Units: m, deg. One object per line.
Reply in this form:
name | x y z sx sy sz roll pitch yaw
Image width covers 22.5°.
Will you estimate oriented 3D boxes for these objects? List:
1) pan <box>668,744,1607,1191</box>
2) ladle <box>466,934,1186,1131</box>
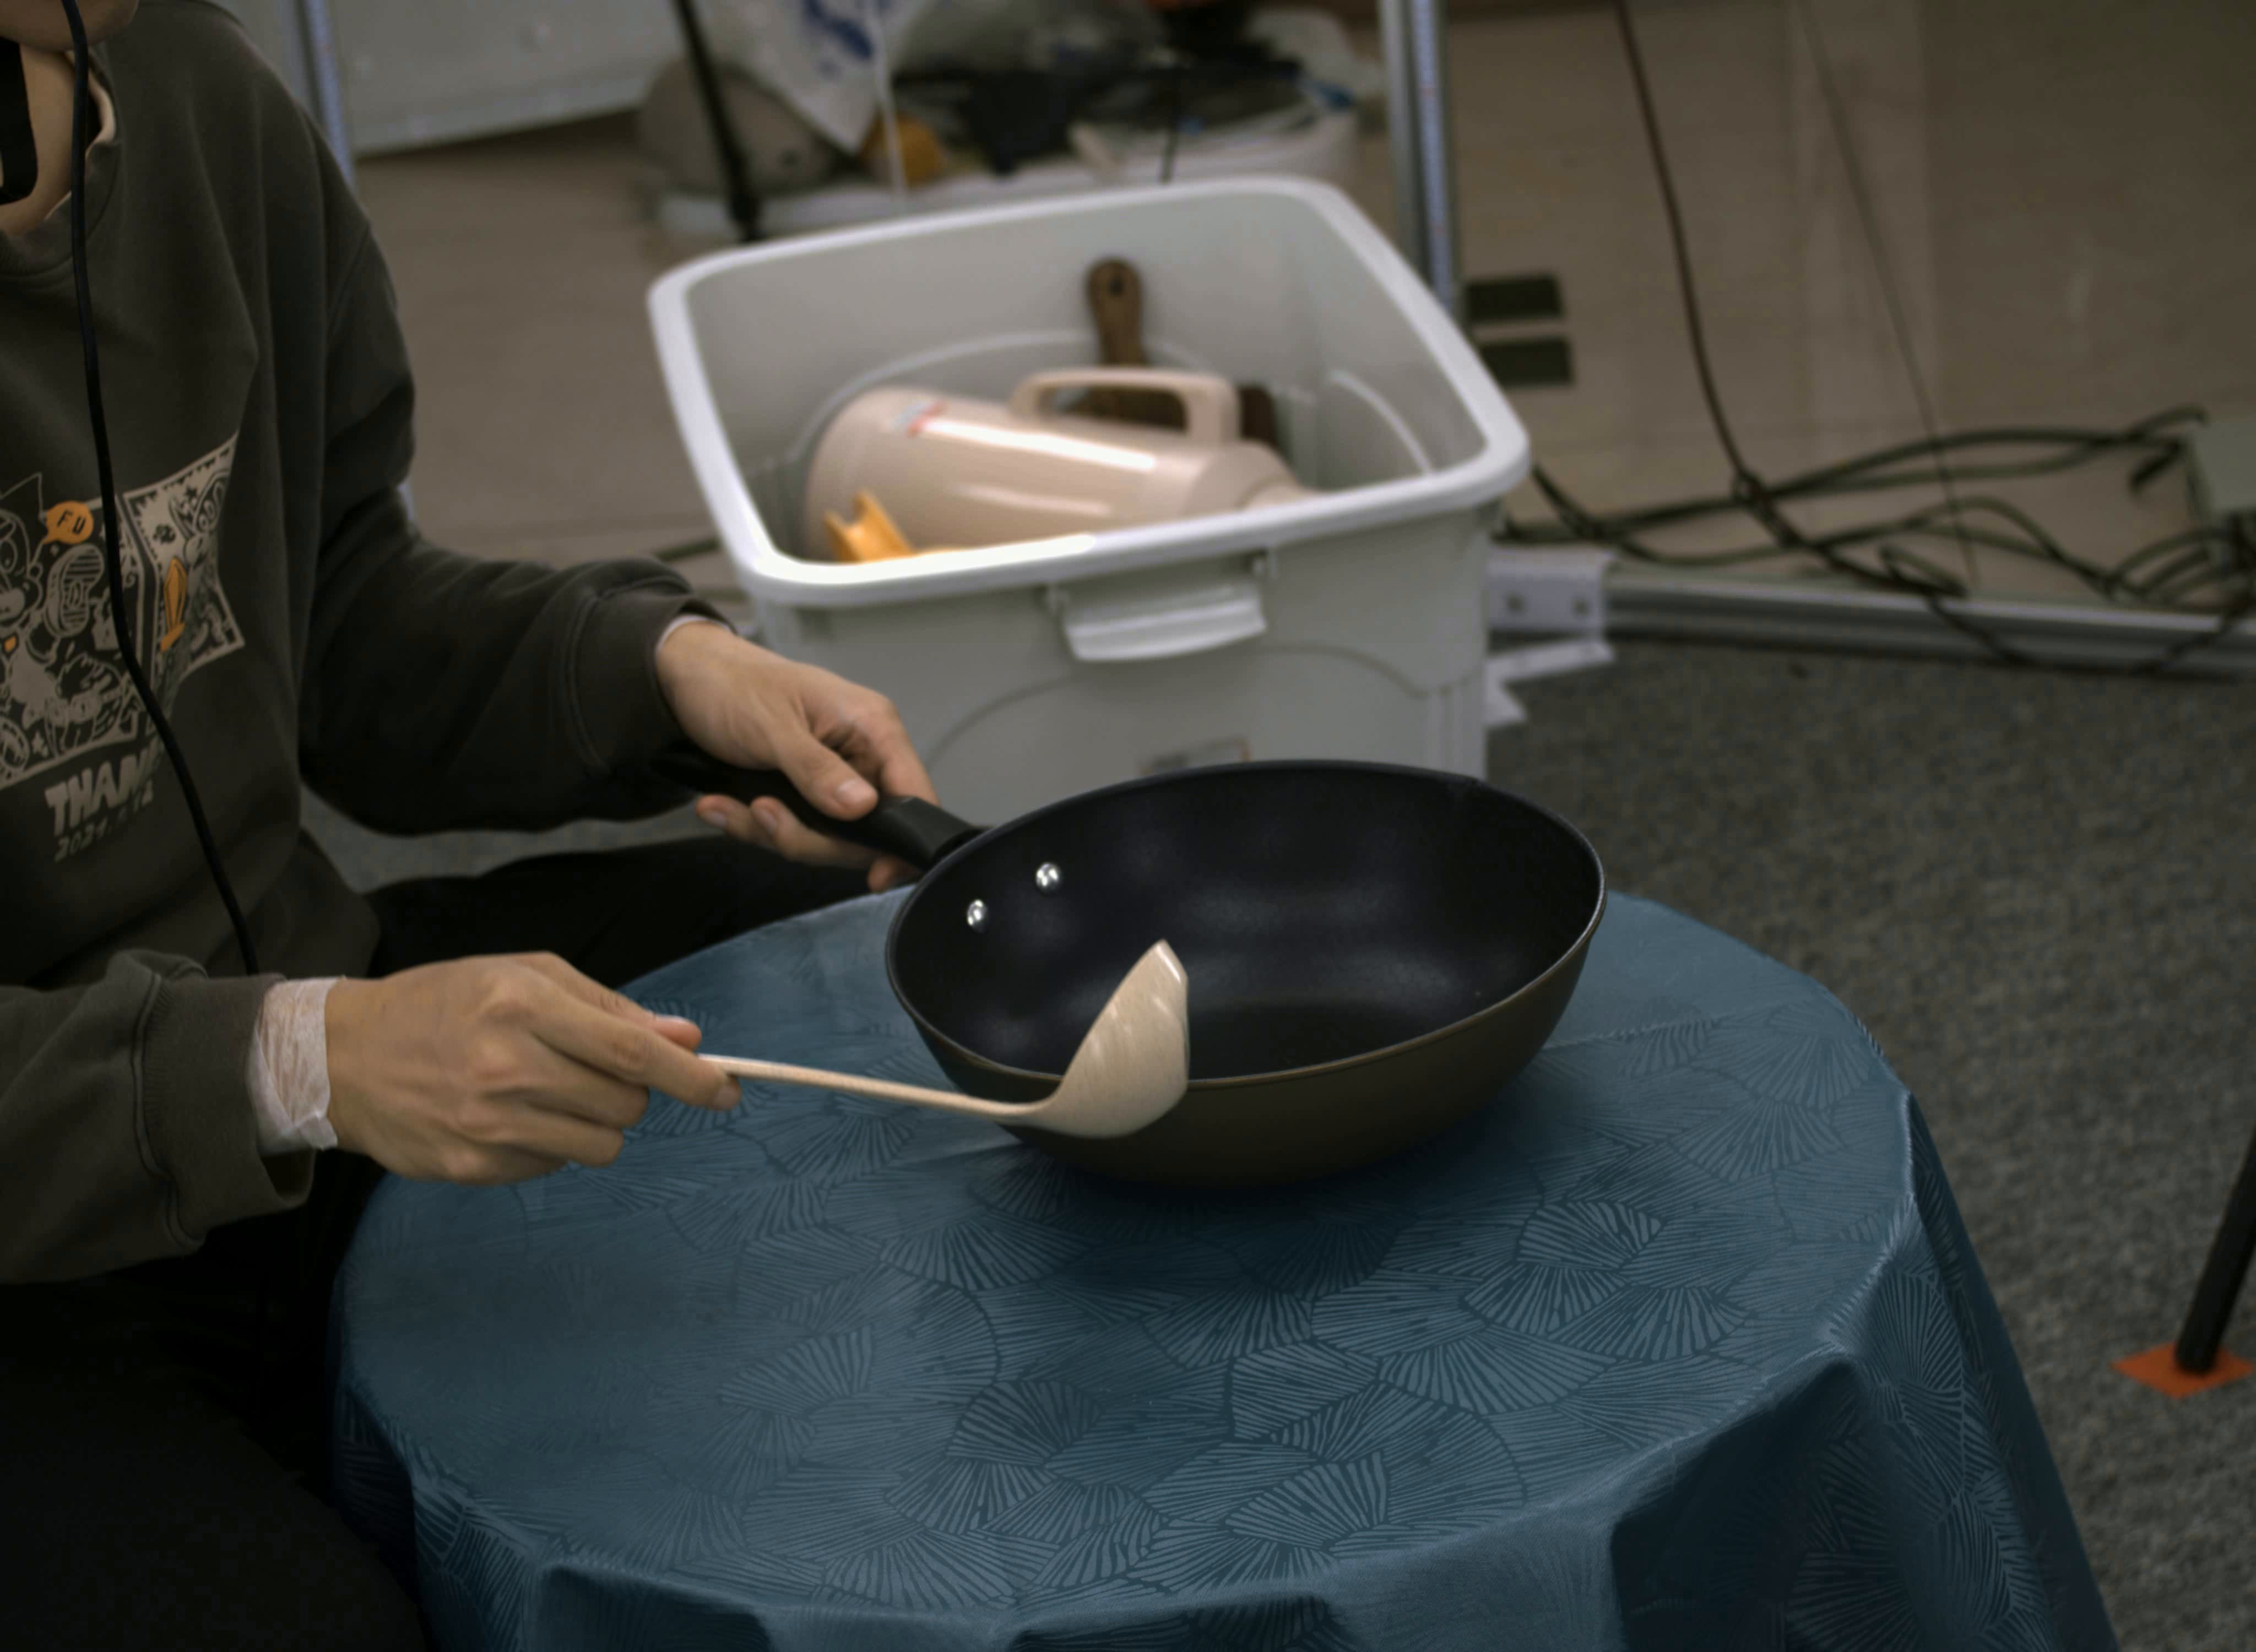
pan | -0.020 0.049 2.244 0.460 0.088 0.285 15 33 40
ladle | -0.104 0.060 2.008 0.254 0.072 0.072 7 -9 3
